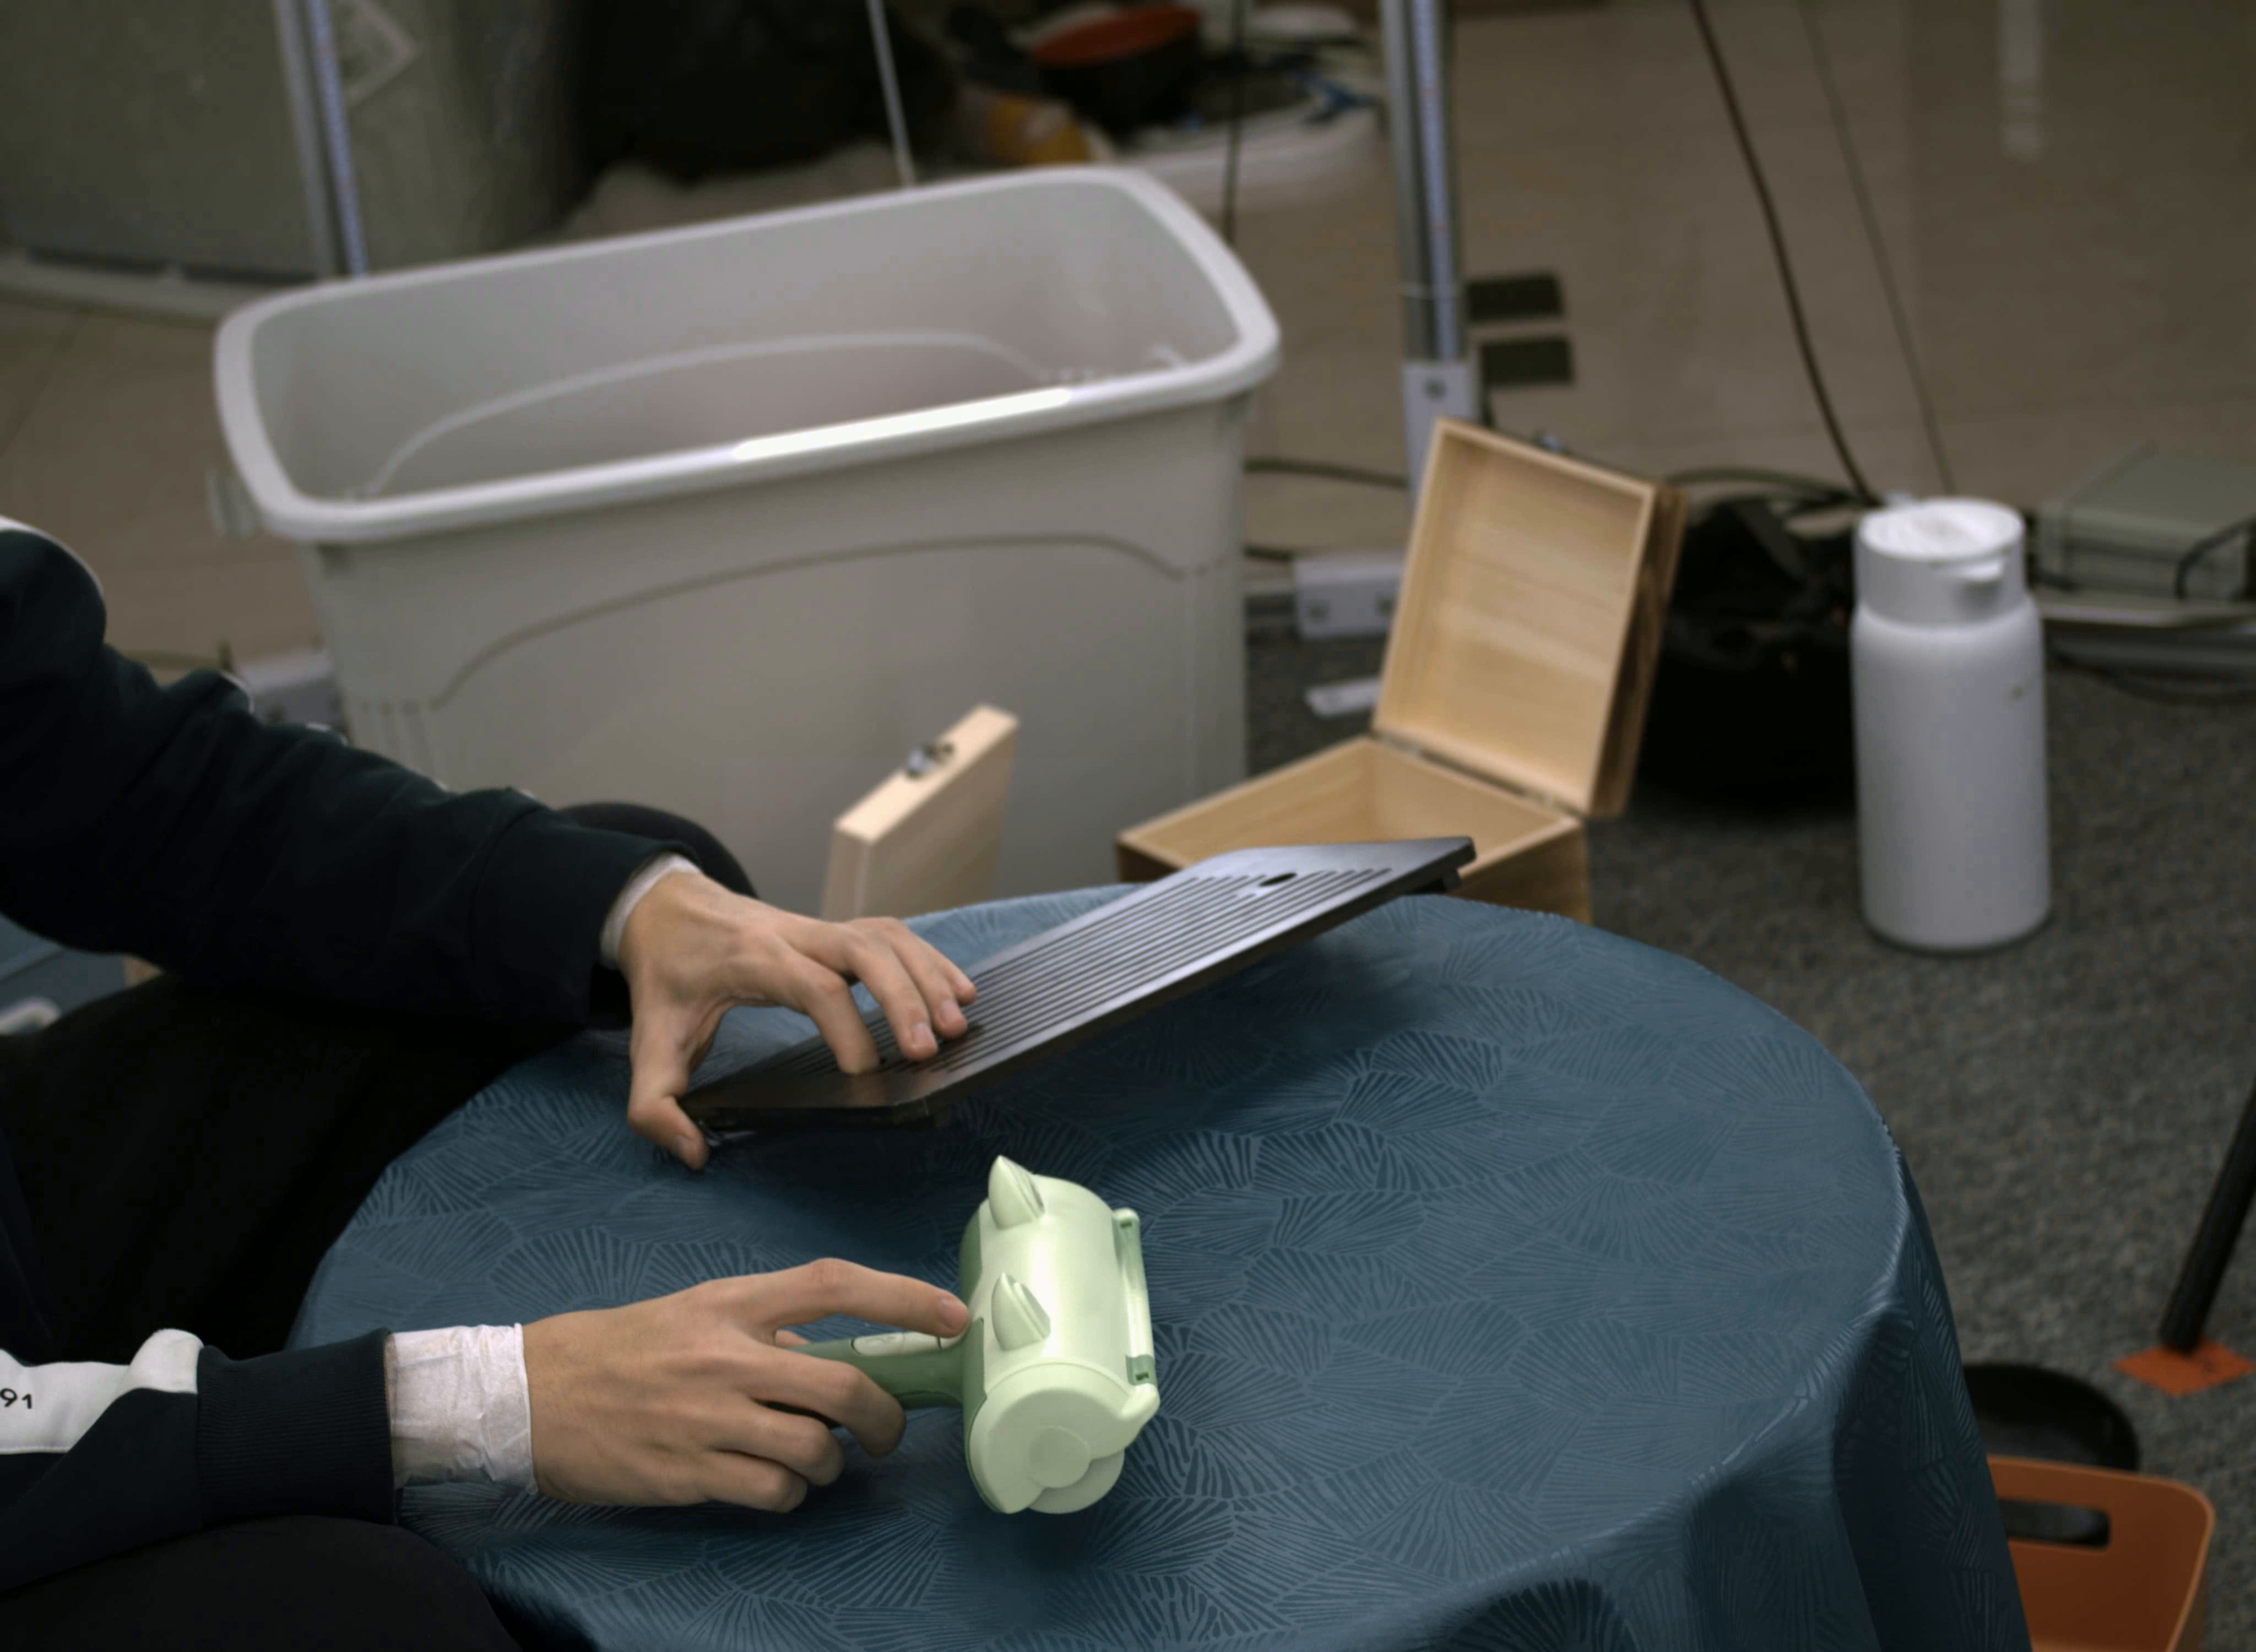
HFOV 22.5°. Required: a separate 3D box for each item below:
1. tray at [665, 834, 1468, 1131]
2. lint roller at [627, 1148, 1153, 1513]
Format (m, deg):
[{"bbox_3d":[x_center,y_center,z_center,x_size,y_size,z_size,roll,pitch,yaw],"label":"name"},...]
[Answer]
[{"bbox_3d":[-0.021,0.063,2.230,0.303,0.019,0.170,-24,12,-35],"label":"tray"},{"bbox_3d":[-0.085,0.174,1.966,0.183,0.083,0.196,-4,18,0],"label":"lint roller"}]
